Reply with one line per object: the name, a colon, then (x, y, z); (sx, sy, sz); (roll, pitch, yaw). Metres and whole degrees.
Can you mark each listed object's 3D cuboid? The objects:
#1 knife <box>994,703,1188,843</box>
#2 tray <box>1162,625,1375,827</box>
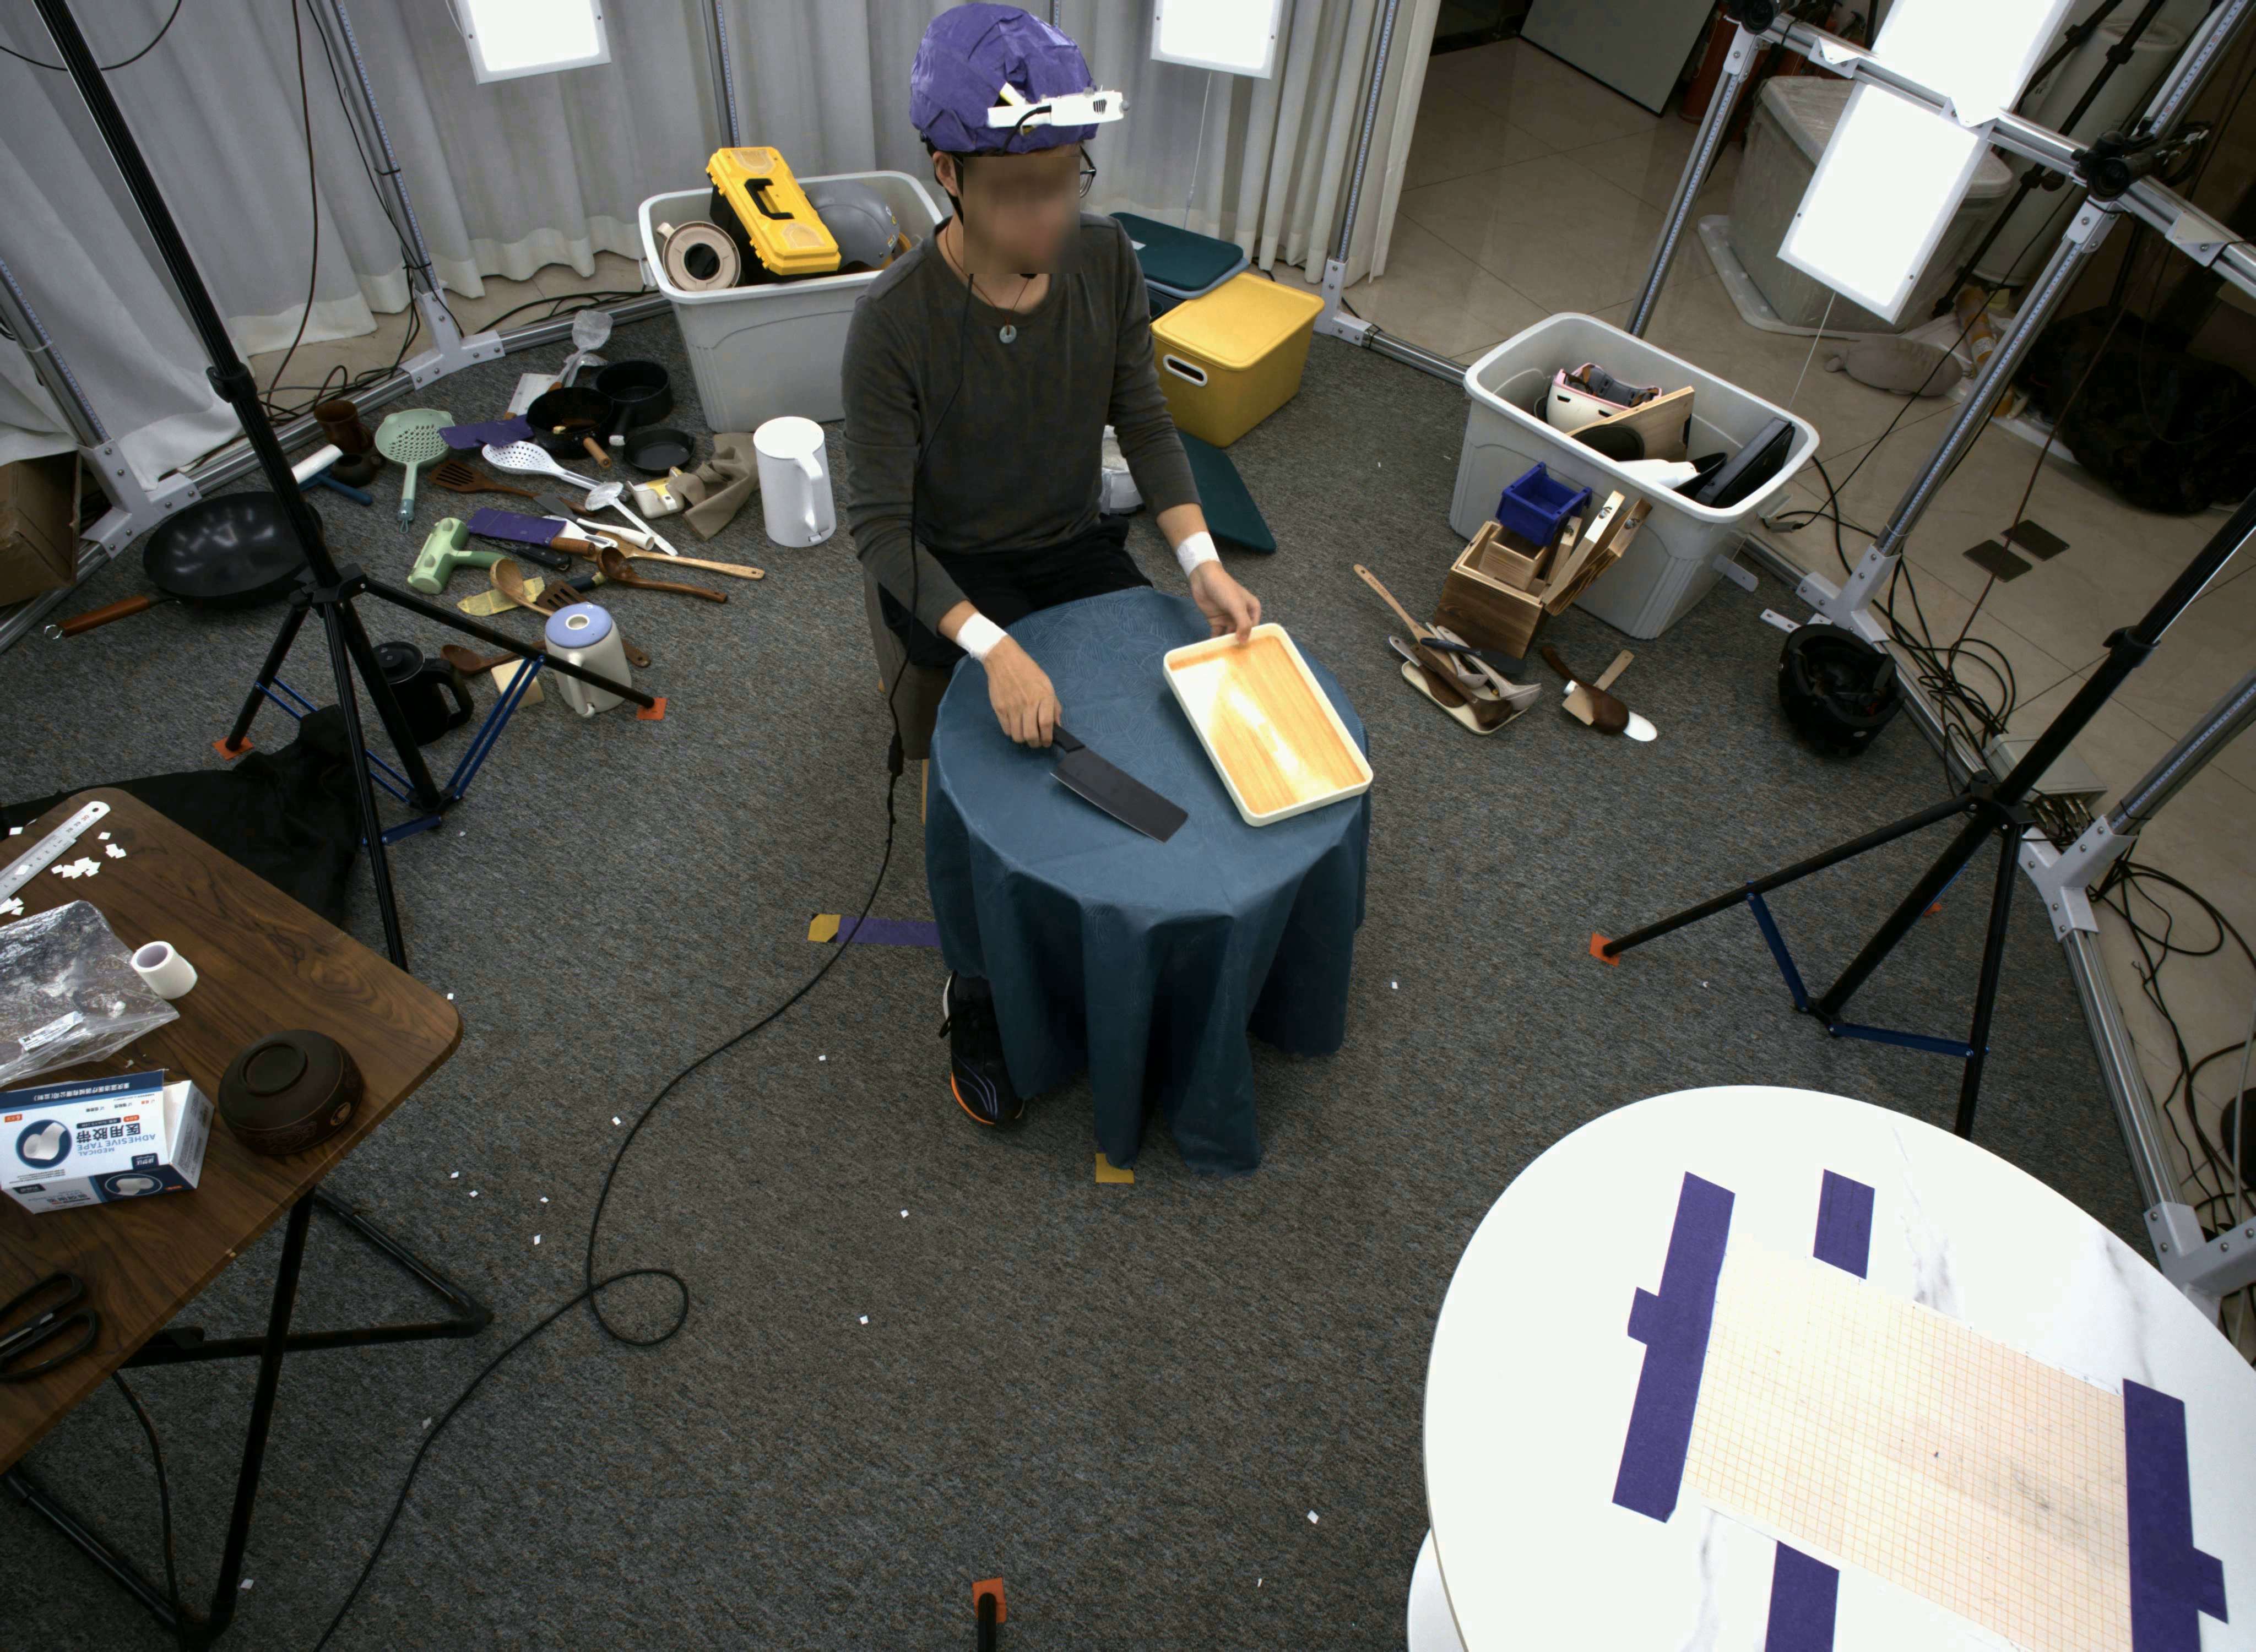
knife: (-0.057, -0.075, 1.704); (0.305, 0.020, 0.082); (36, 56, 17)
tray: (0.189, -0.144, 1.766); (0.192, 0.027, 0.307); (-17, 58, -16)
